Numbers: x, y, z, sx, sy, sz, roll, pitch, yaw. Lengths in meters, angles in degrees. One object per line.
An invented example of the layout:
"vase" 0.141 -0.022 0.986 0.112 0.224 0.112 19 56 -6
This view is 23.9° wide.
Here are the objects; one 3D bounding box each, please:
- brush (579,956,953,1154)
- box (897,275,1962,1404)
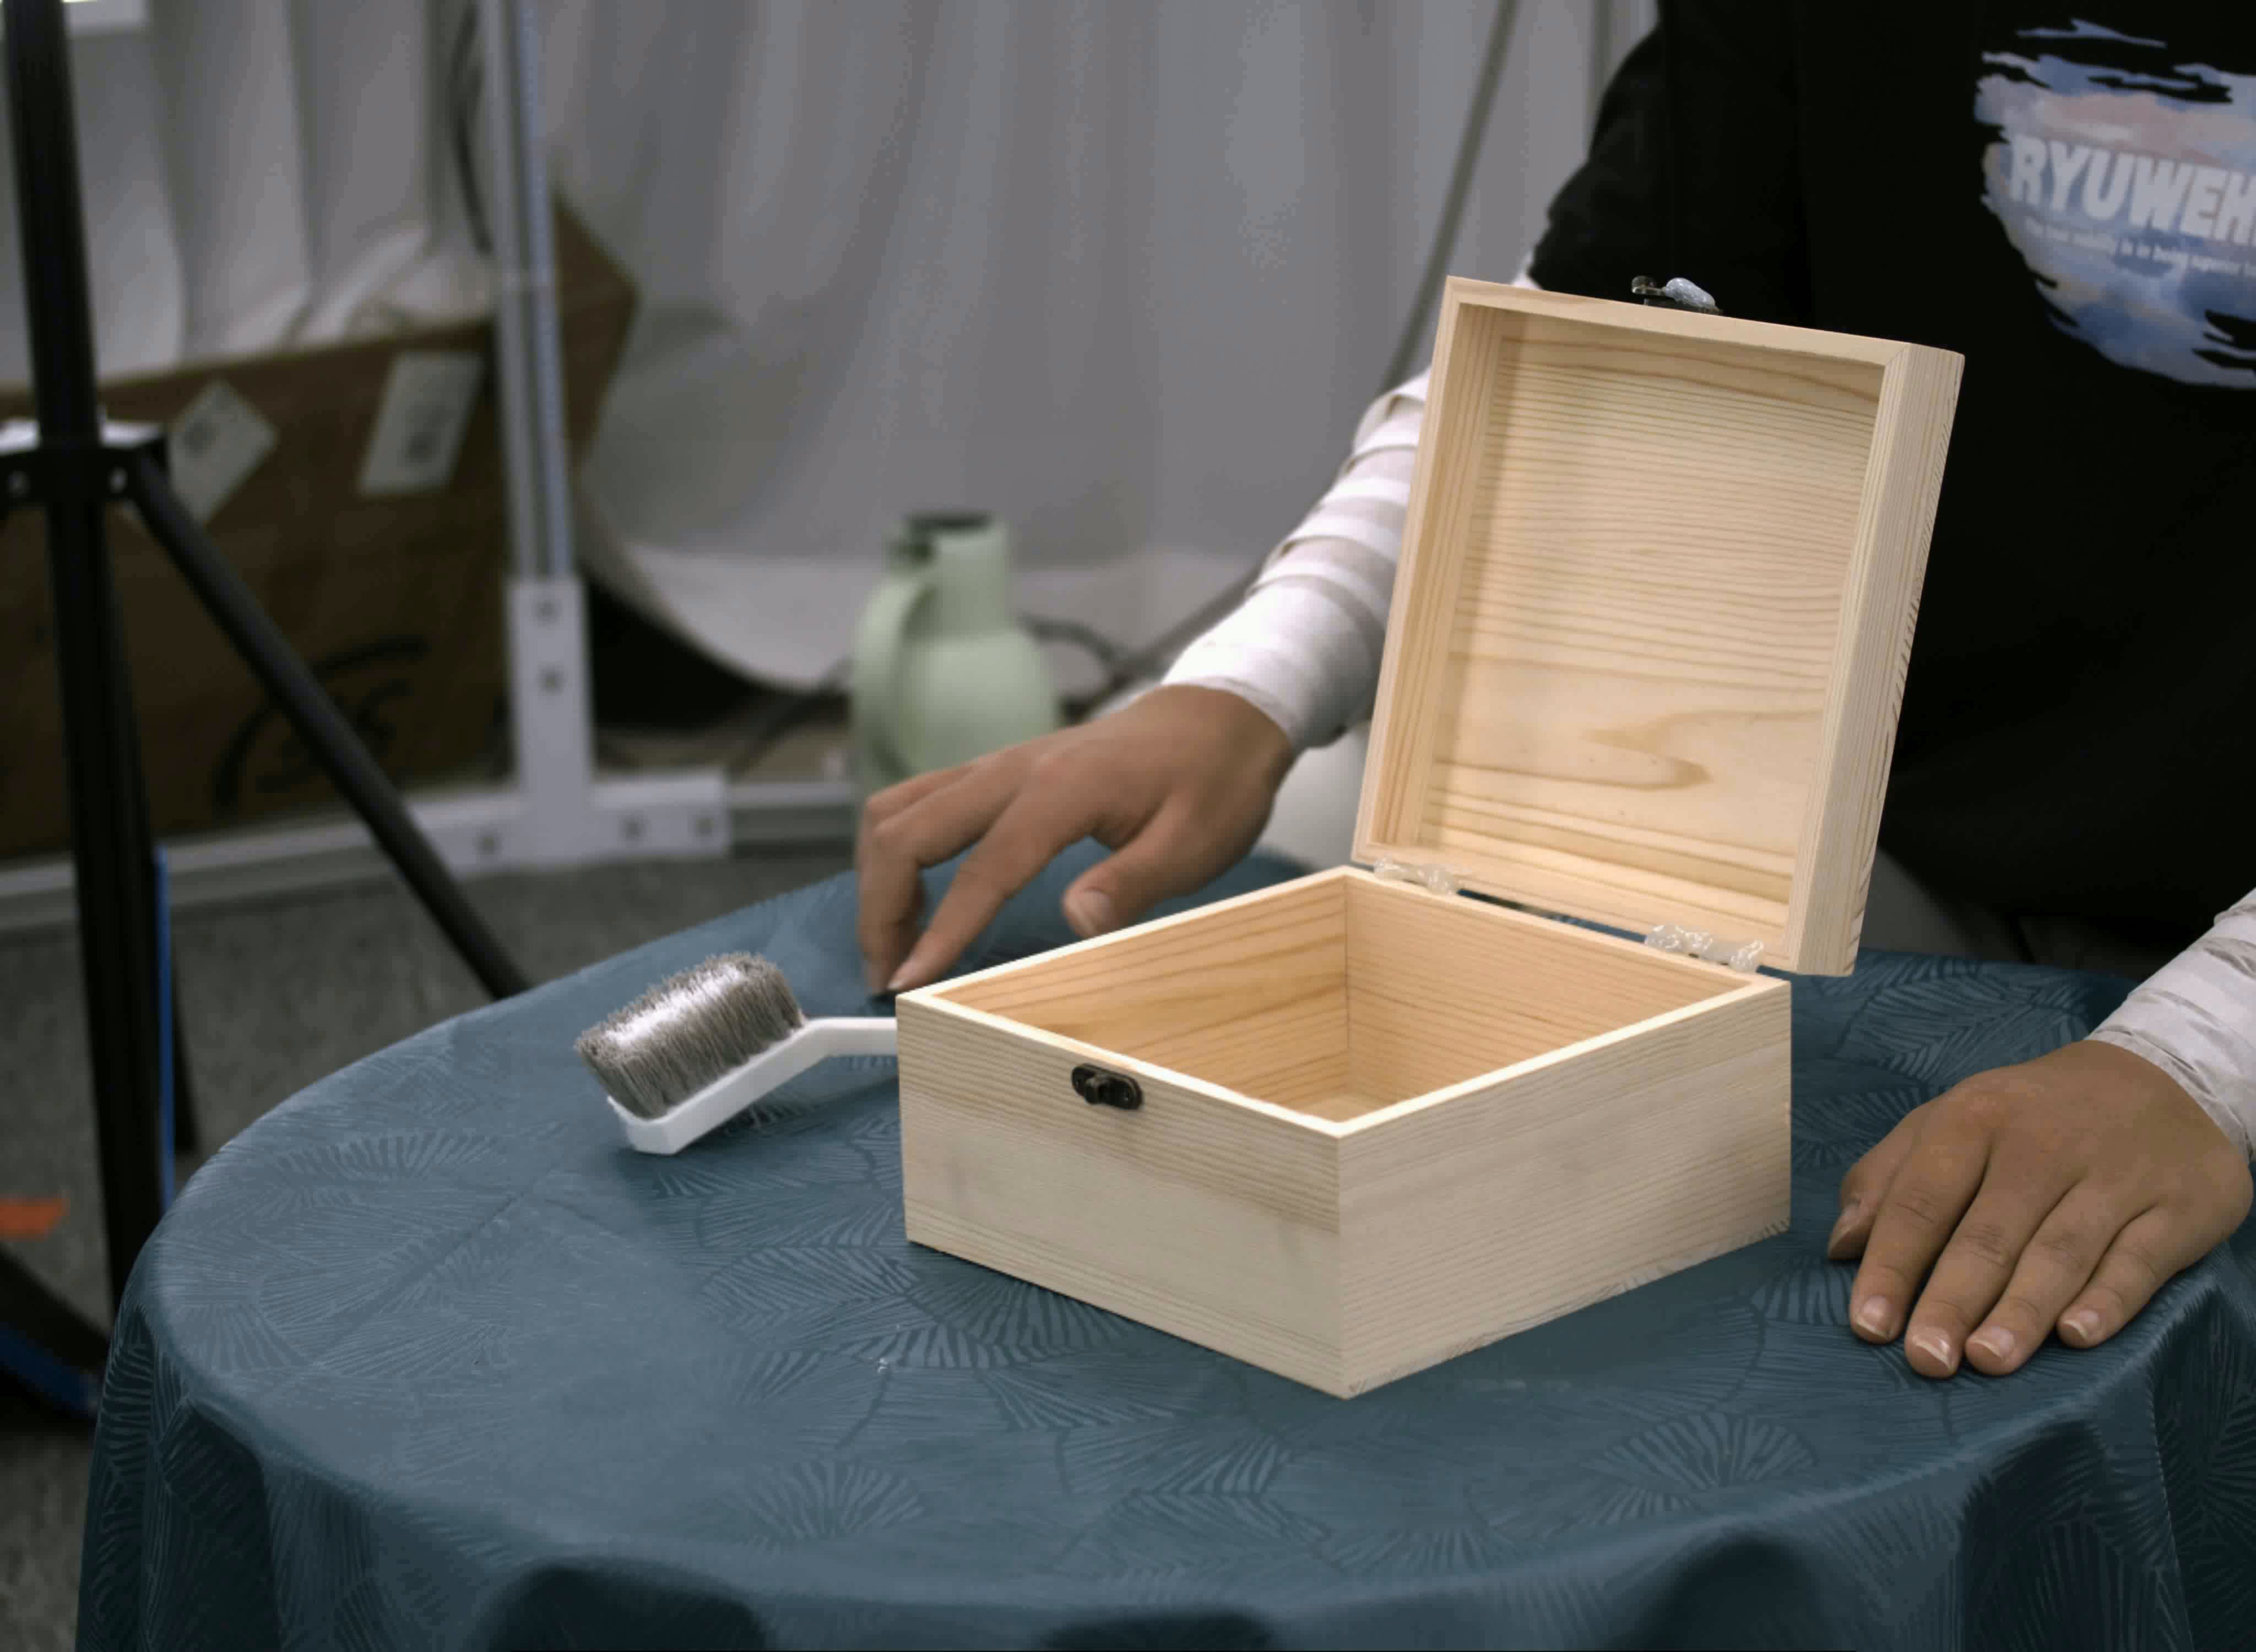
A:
"brush" -0.062 0.054 1.671 0.238 0.050 0.035 -13 18 -32
"box" 0.084 -0.009 1.506 0.259 0.253 0.186 -15 18 -40
